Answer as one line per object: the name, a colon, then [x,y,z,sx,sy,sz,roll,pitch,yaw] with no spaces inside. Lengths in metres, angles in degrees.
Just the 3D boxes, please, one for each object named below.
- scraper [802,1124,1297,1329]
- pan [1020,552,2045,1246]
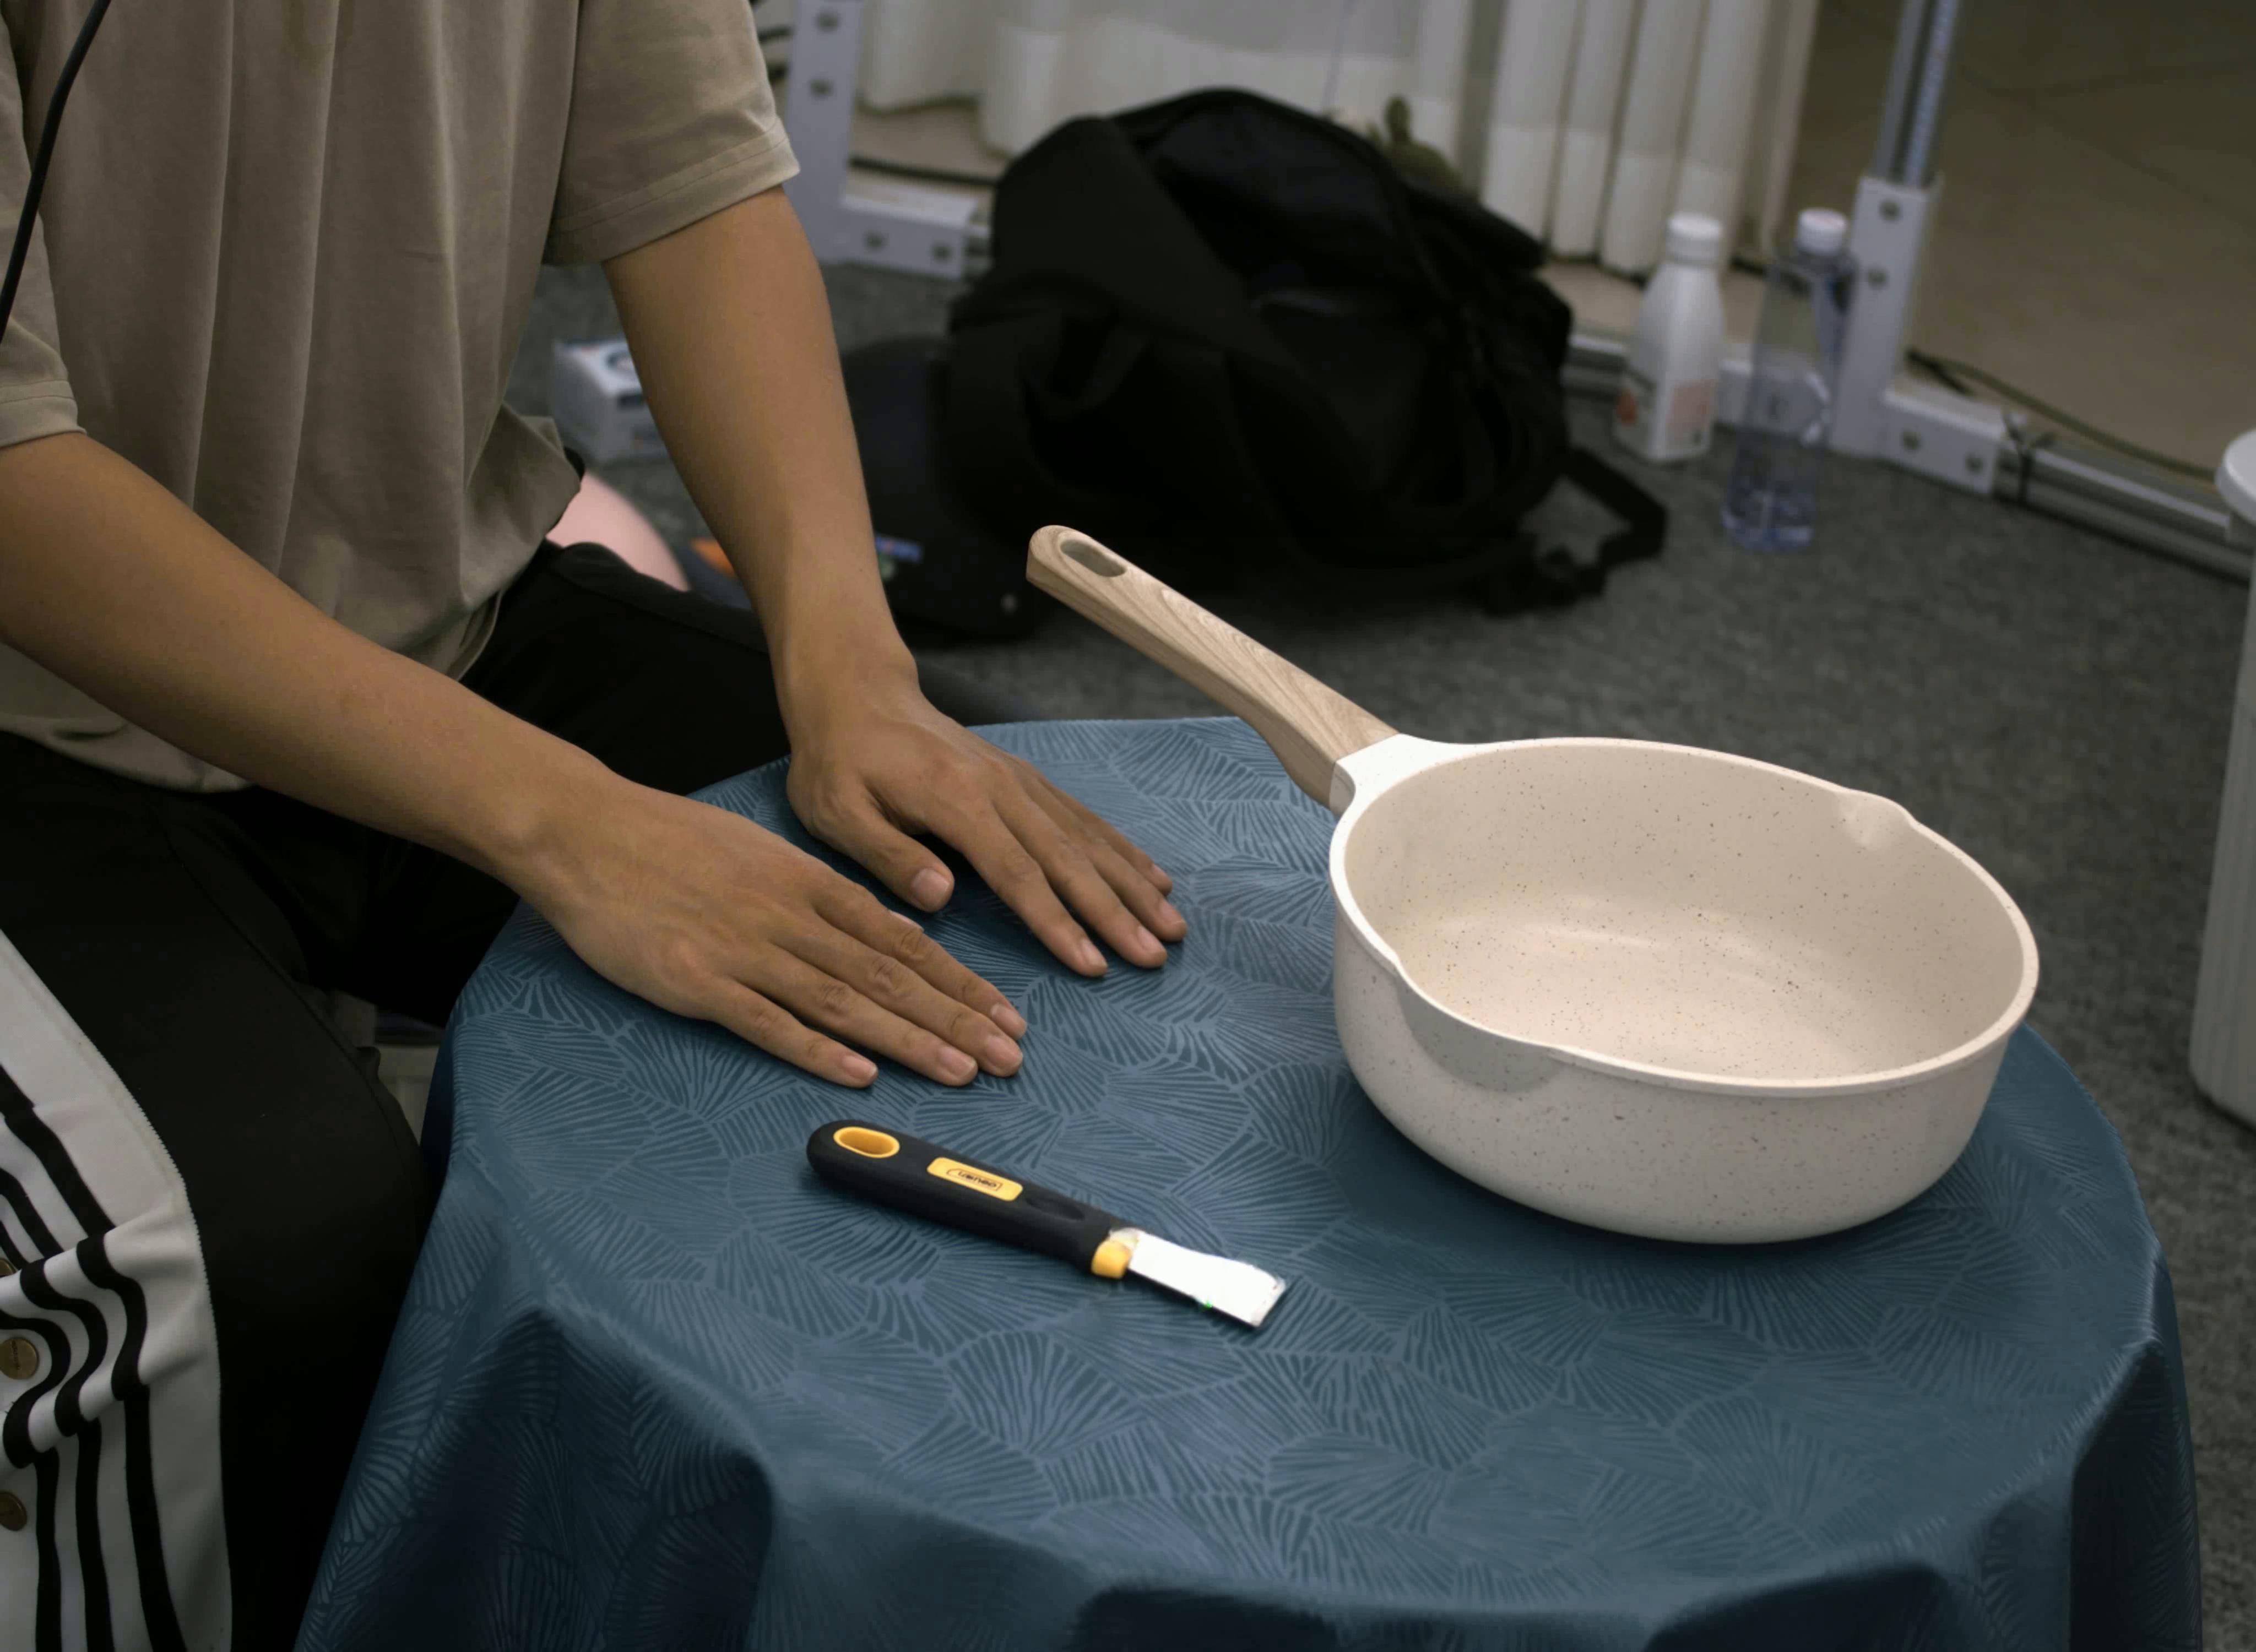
scraper: [-0.029,0.132,1.764,0.171,0.015,0.039,17,32,14]
pan: [0.125,0.020,1.935,0.438,0.101,0.262,27,36,34]
